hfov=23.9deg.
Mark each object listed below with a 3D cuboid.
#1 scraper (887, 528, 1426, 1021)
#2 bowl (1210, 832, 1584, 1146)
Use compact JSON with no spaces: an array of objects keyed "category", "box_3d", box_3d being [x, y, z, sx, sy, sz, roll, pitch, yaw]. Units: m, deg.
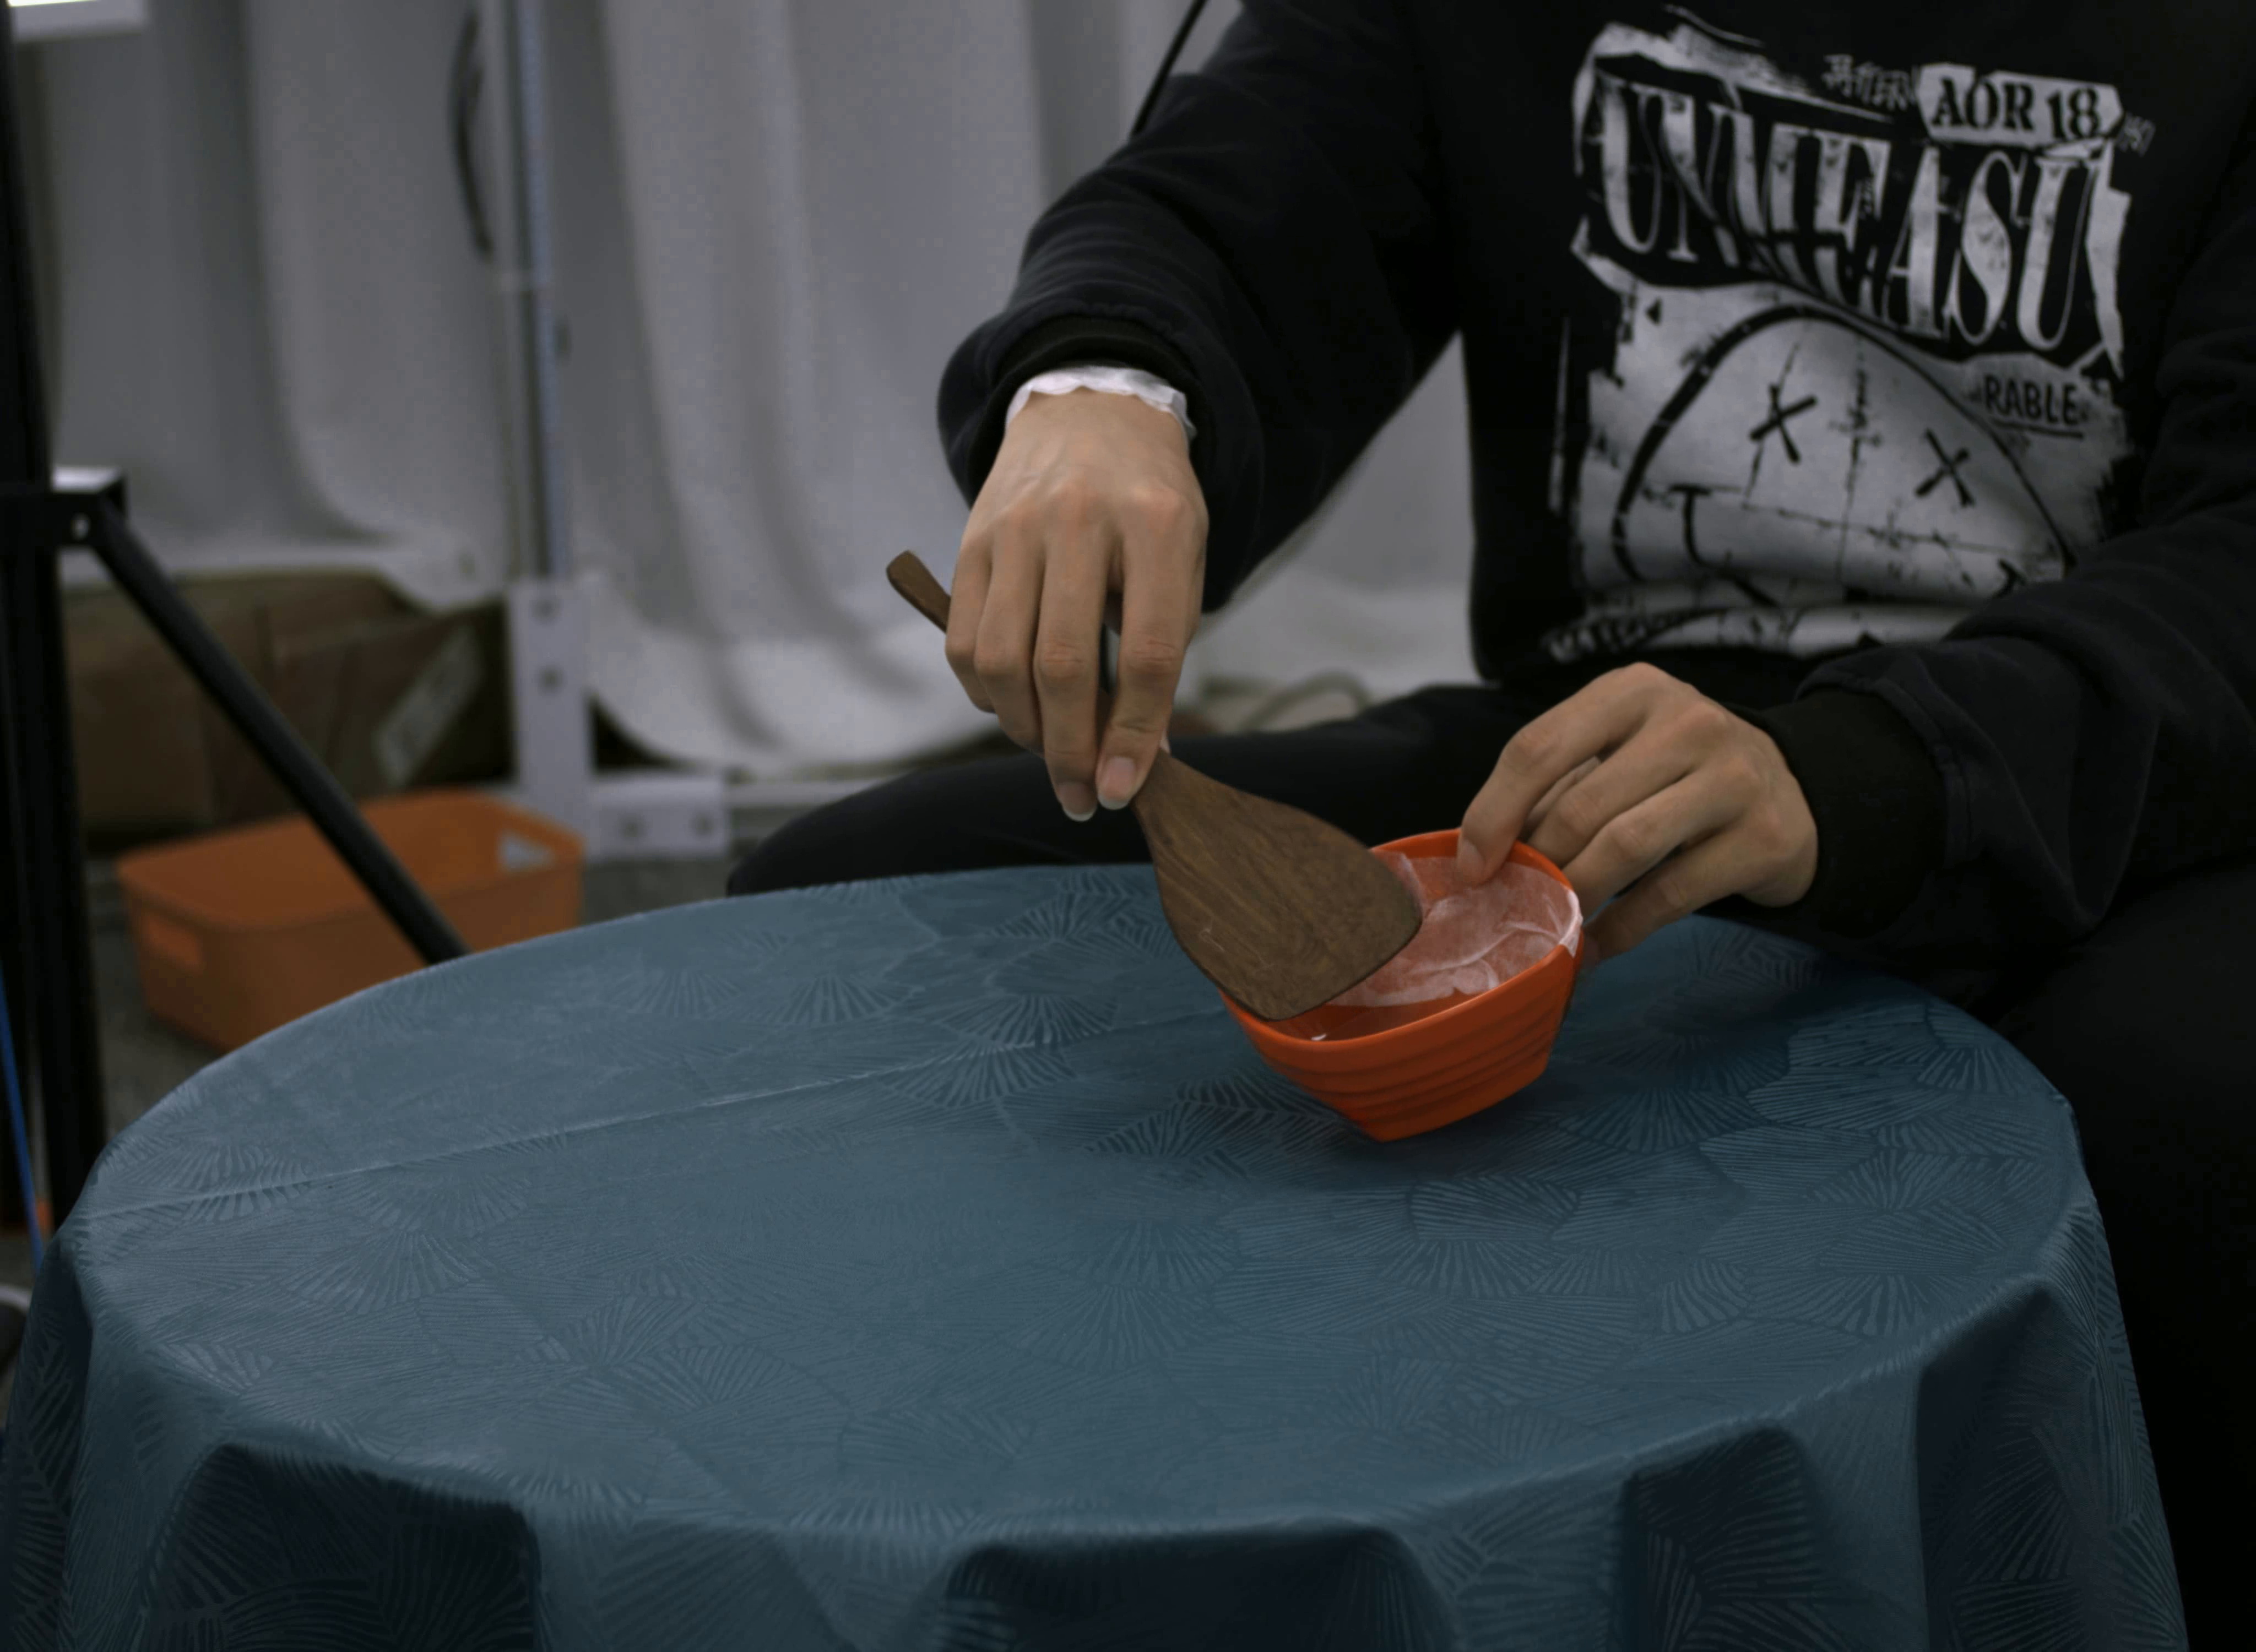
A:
[{"category":"scraper","box_3d":[0.000,-0.020,1.635,0.074,0.011,0.215,-30,62,-31]},{"category":"bowl","box_3d":[0.087,0.054,1.609,0.119,0.051,0.120,-16,27,7]}]
